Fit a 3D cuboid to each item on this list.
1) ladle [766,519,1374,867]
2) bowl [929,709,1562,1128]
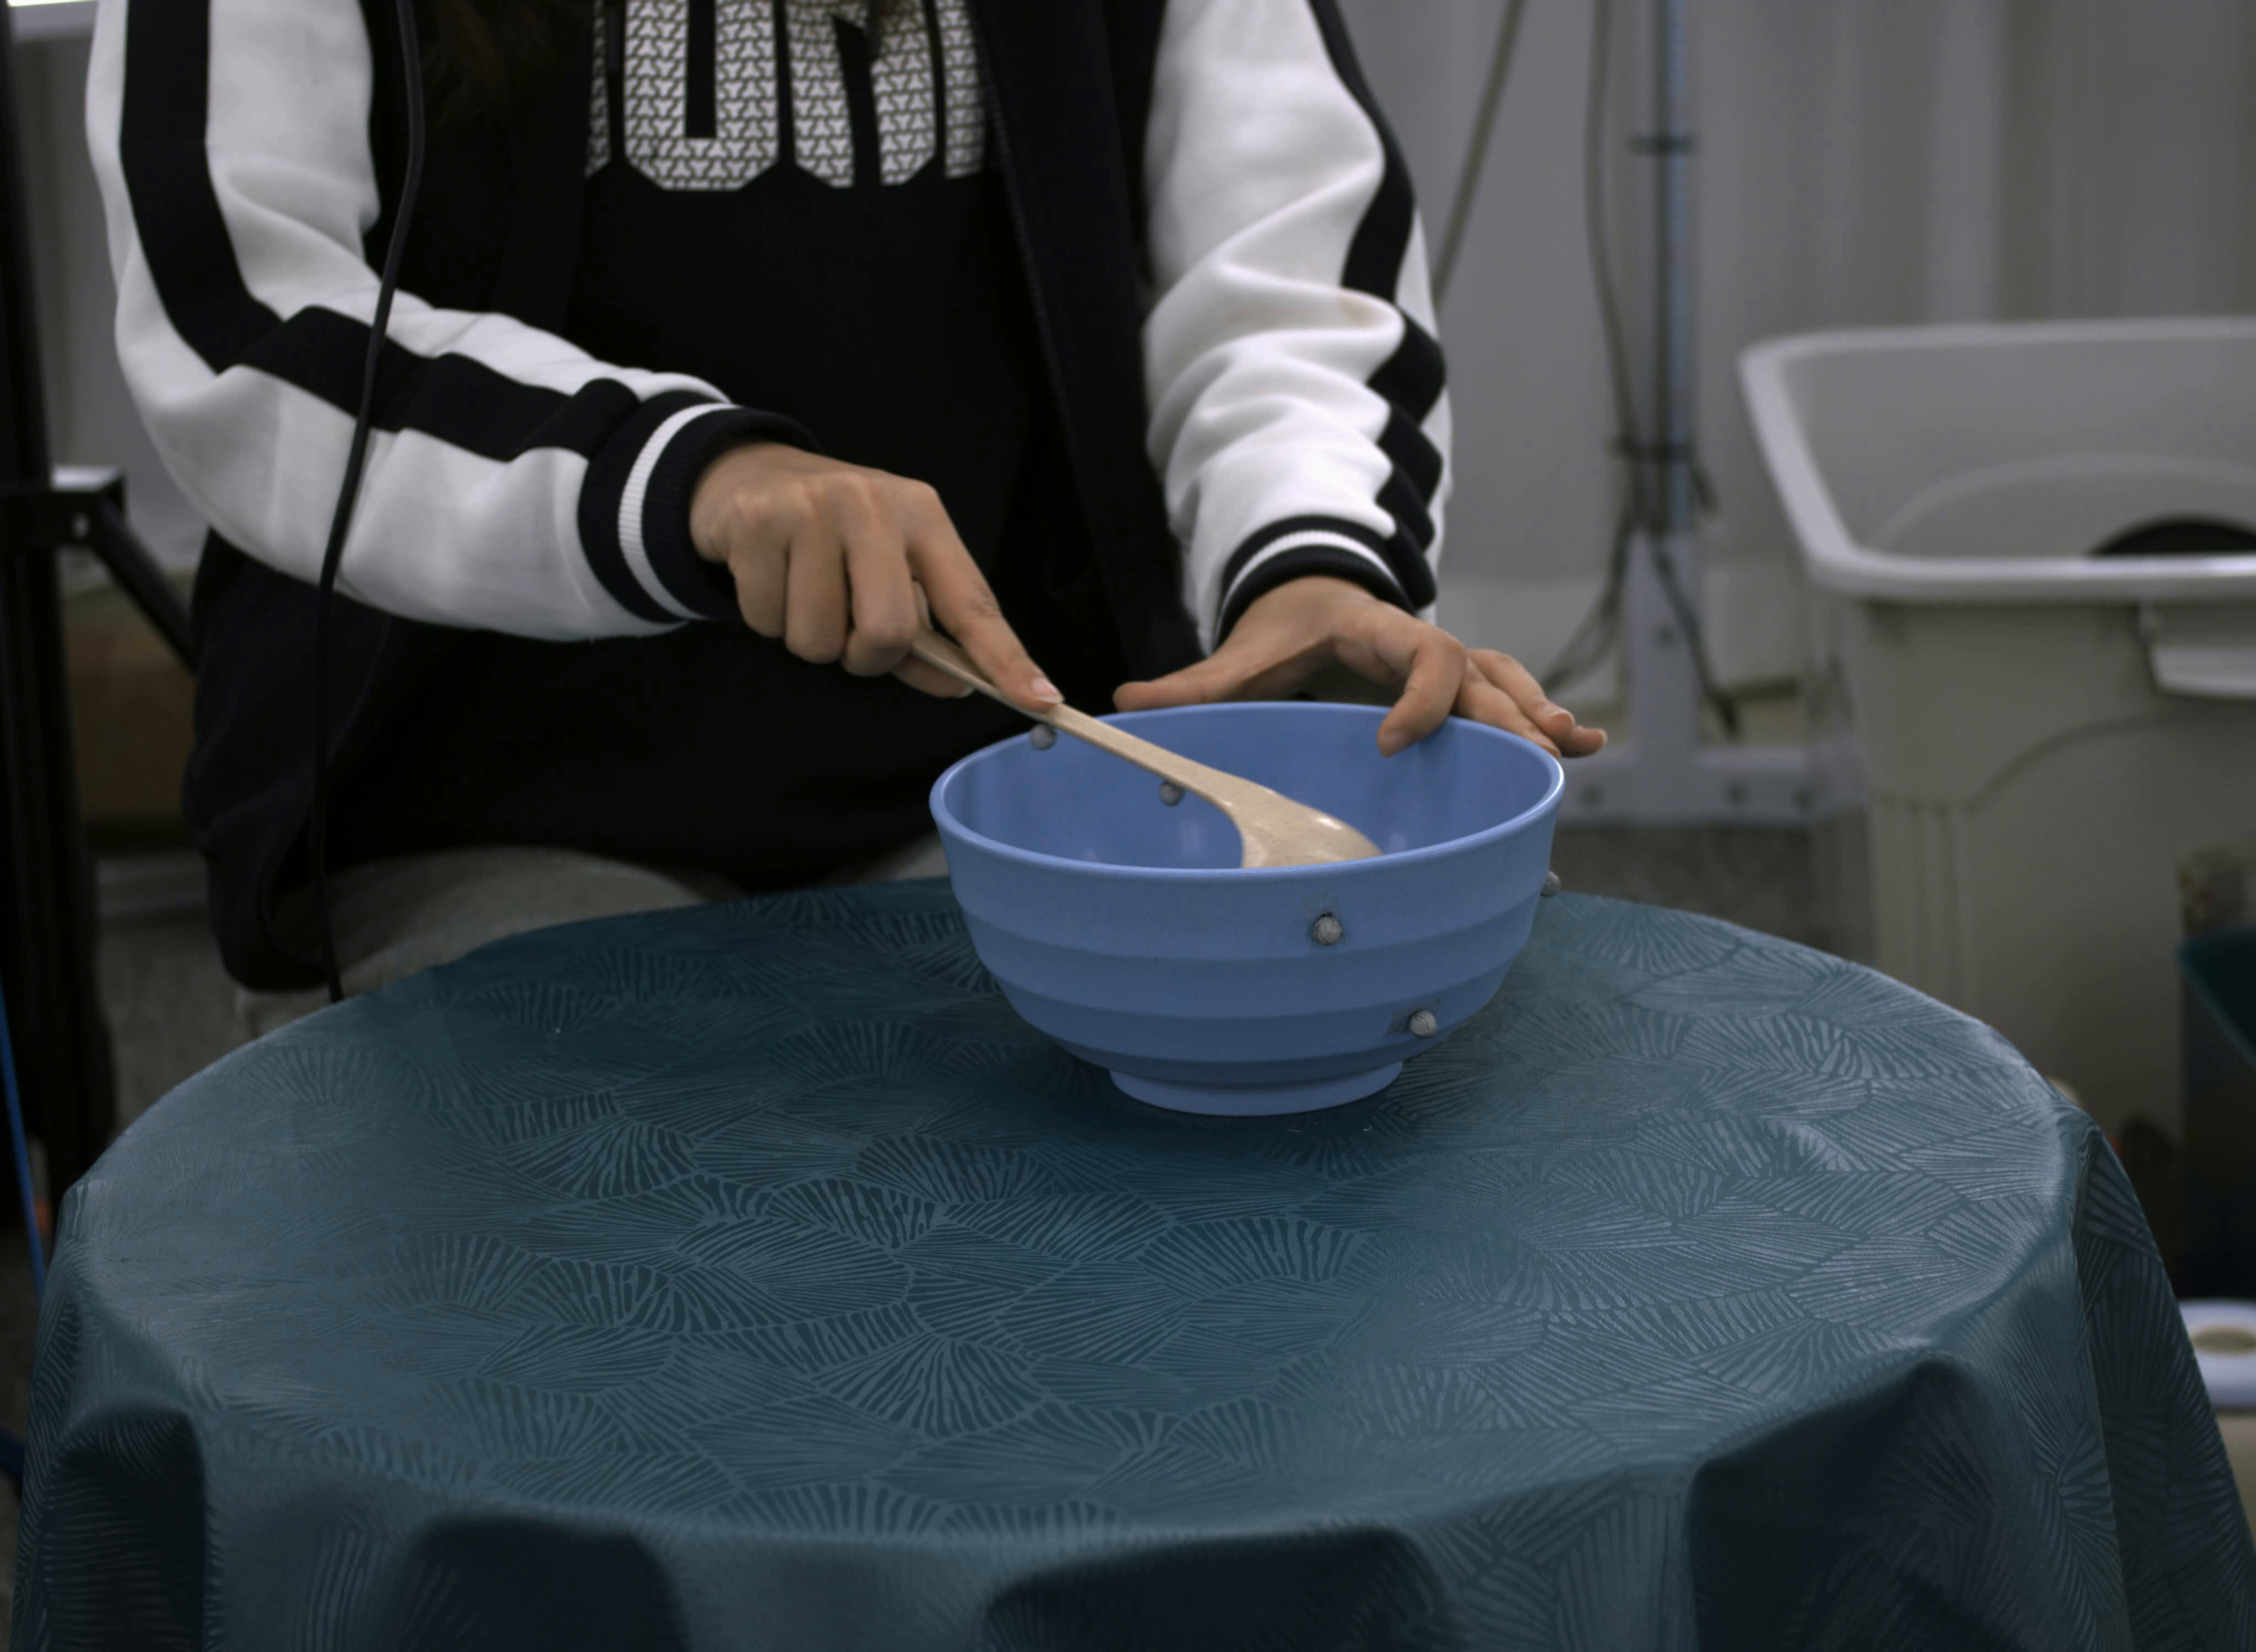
[{"bbox_3d":[-0.024,-0.011,1.678,0.259,0.073,0.071,30,35,29],"label":"ladle"},{"bbox_3d":[0.039,0.034,1.649,0.195,0.095,0.197,-4,15,0],"label":"bowl"}]
